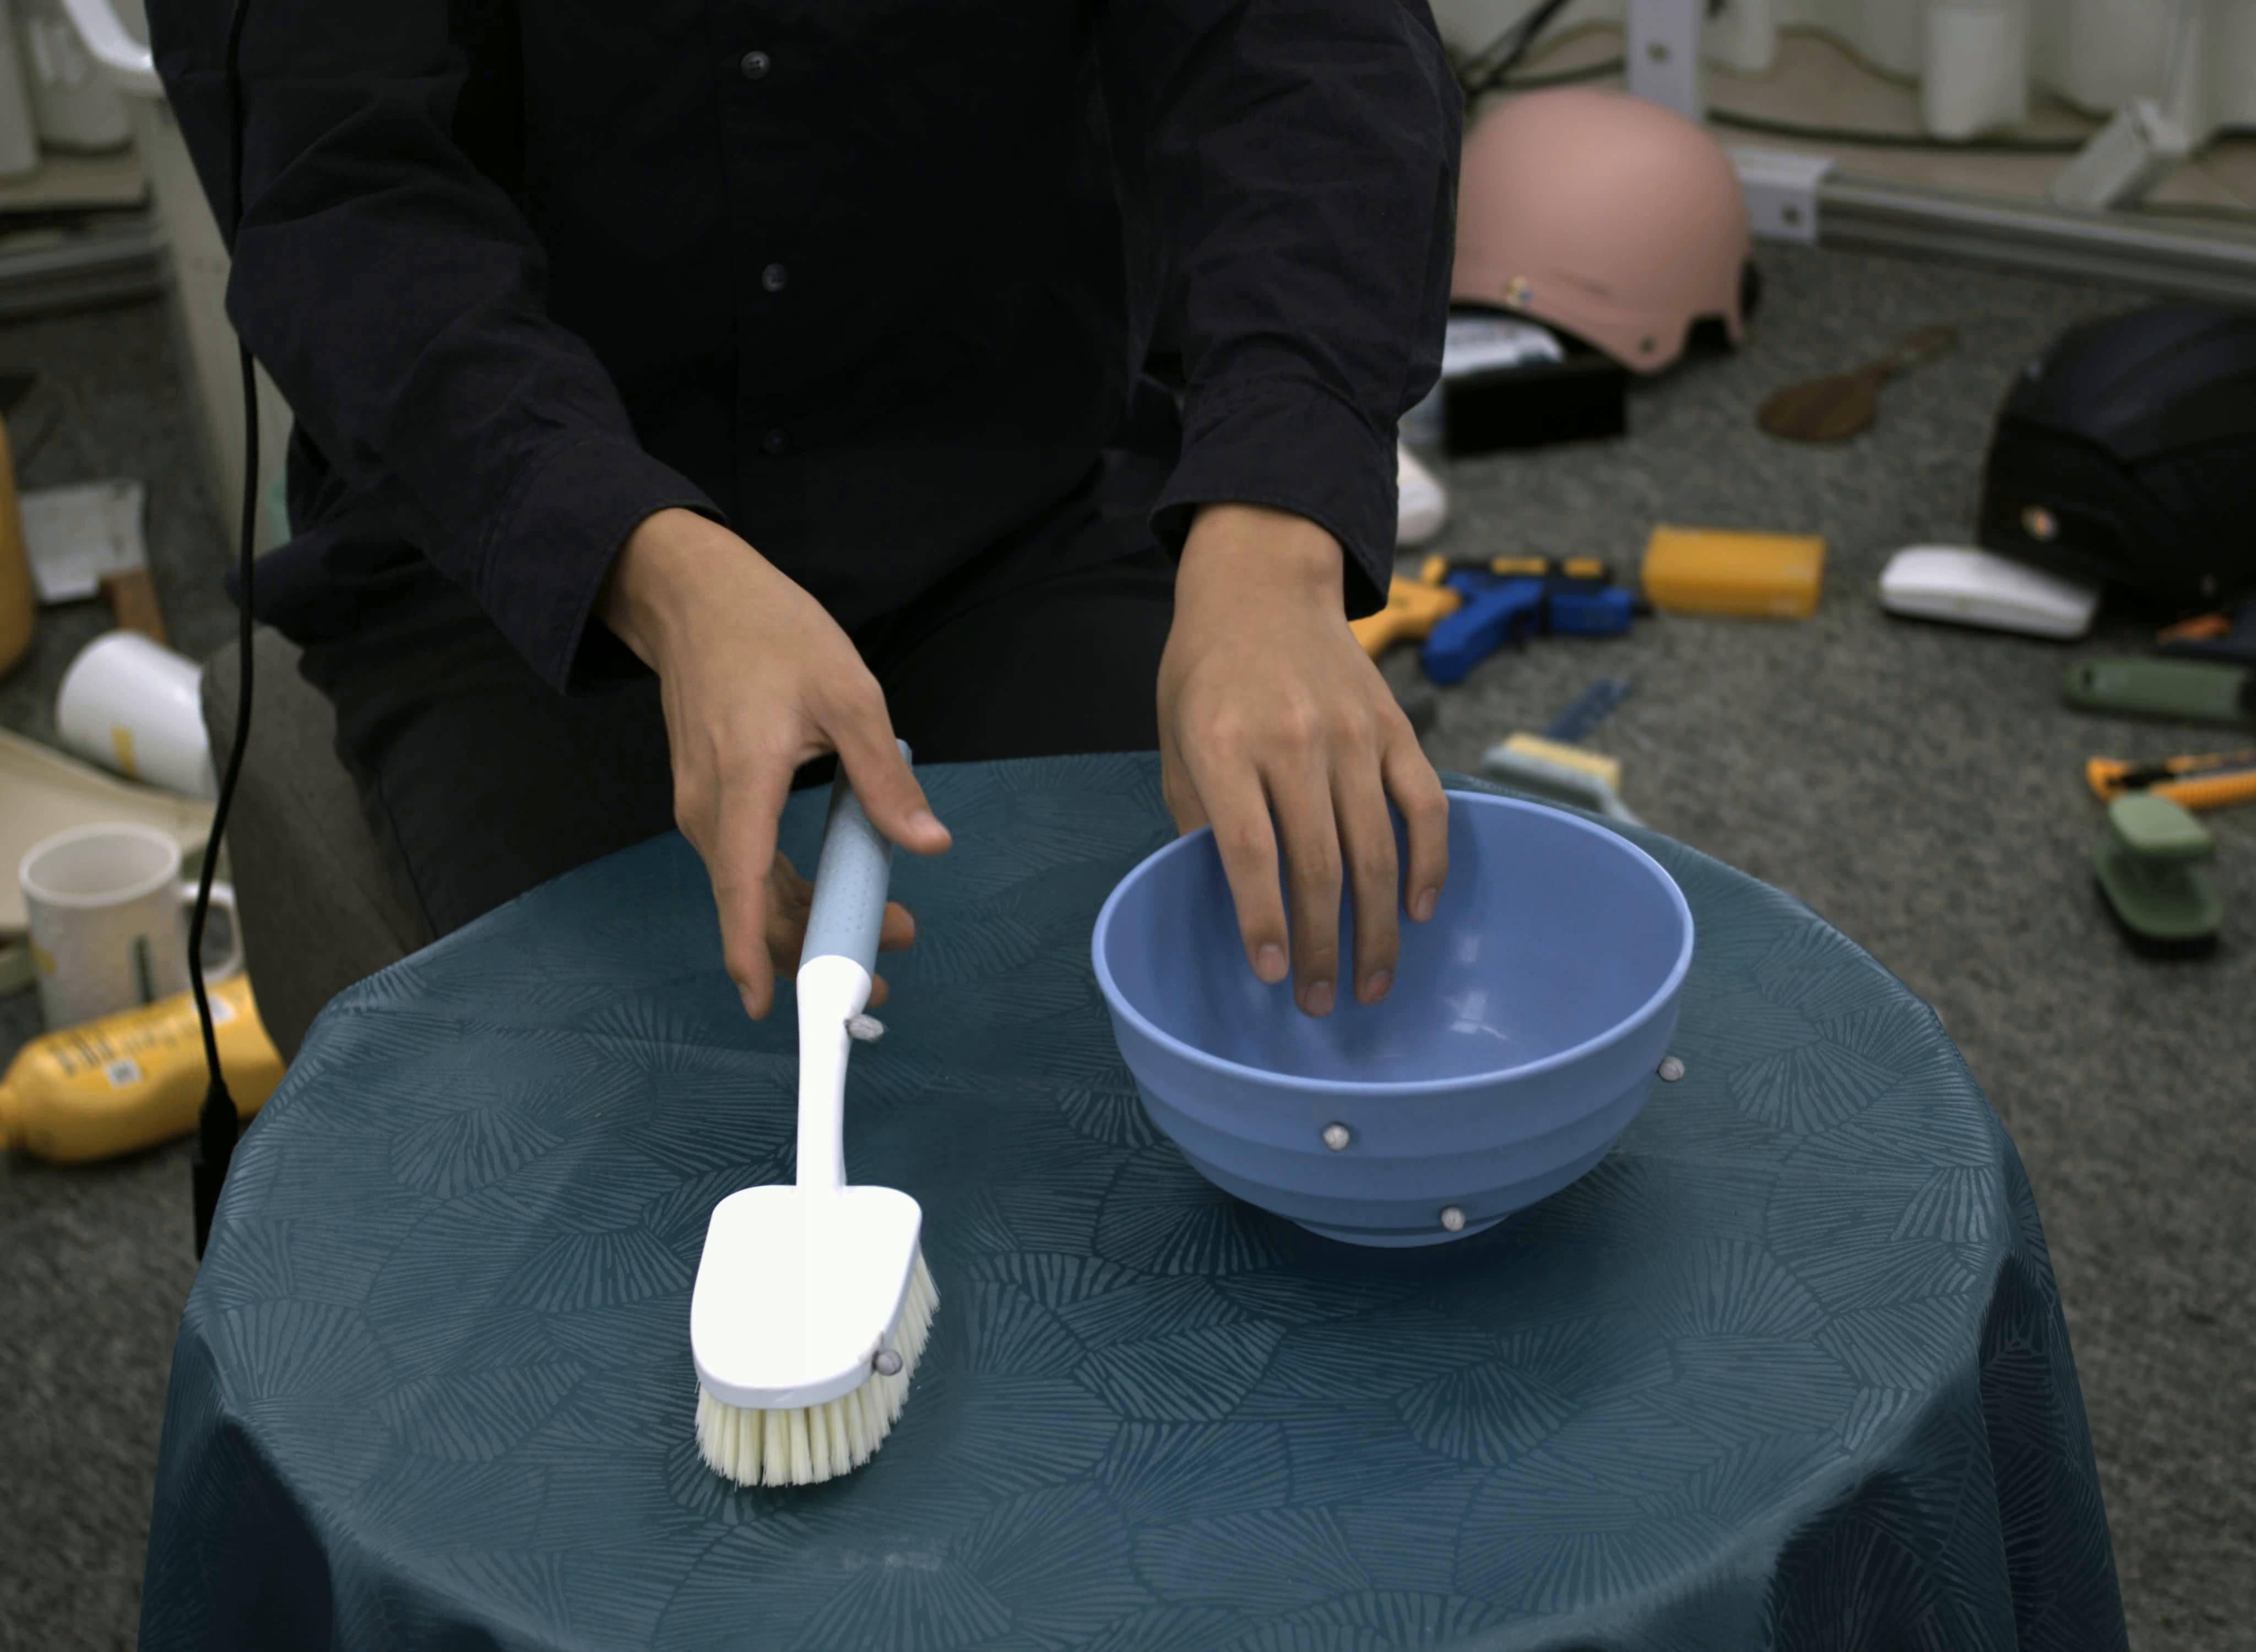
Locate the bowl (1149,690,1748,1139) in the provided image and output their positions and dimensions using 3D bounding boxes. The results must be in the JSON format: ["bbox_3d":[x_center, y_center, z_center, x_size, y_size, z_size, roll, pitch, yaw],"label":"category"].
[{"bbox_3d":[0.107,0.040,1.858,0.195,0.094,0.199,-3,27,2],"label":"bowl"}]

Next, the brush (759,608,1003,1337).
[{"bbox_3d":[-0.070,0.056,1.850,0.083,0.083,0.332,29,36,-17],"label":"brush"}]
